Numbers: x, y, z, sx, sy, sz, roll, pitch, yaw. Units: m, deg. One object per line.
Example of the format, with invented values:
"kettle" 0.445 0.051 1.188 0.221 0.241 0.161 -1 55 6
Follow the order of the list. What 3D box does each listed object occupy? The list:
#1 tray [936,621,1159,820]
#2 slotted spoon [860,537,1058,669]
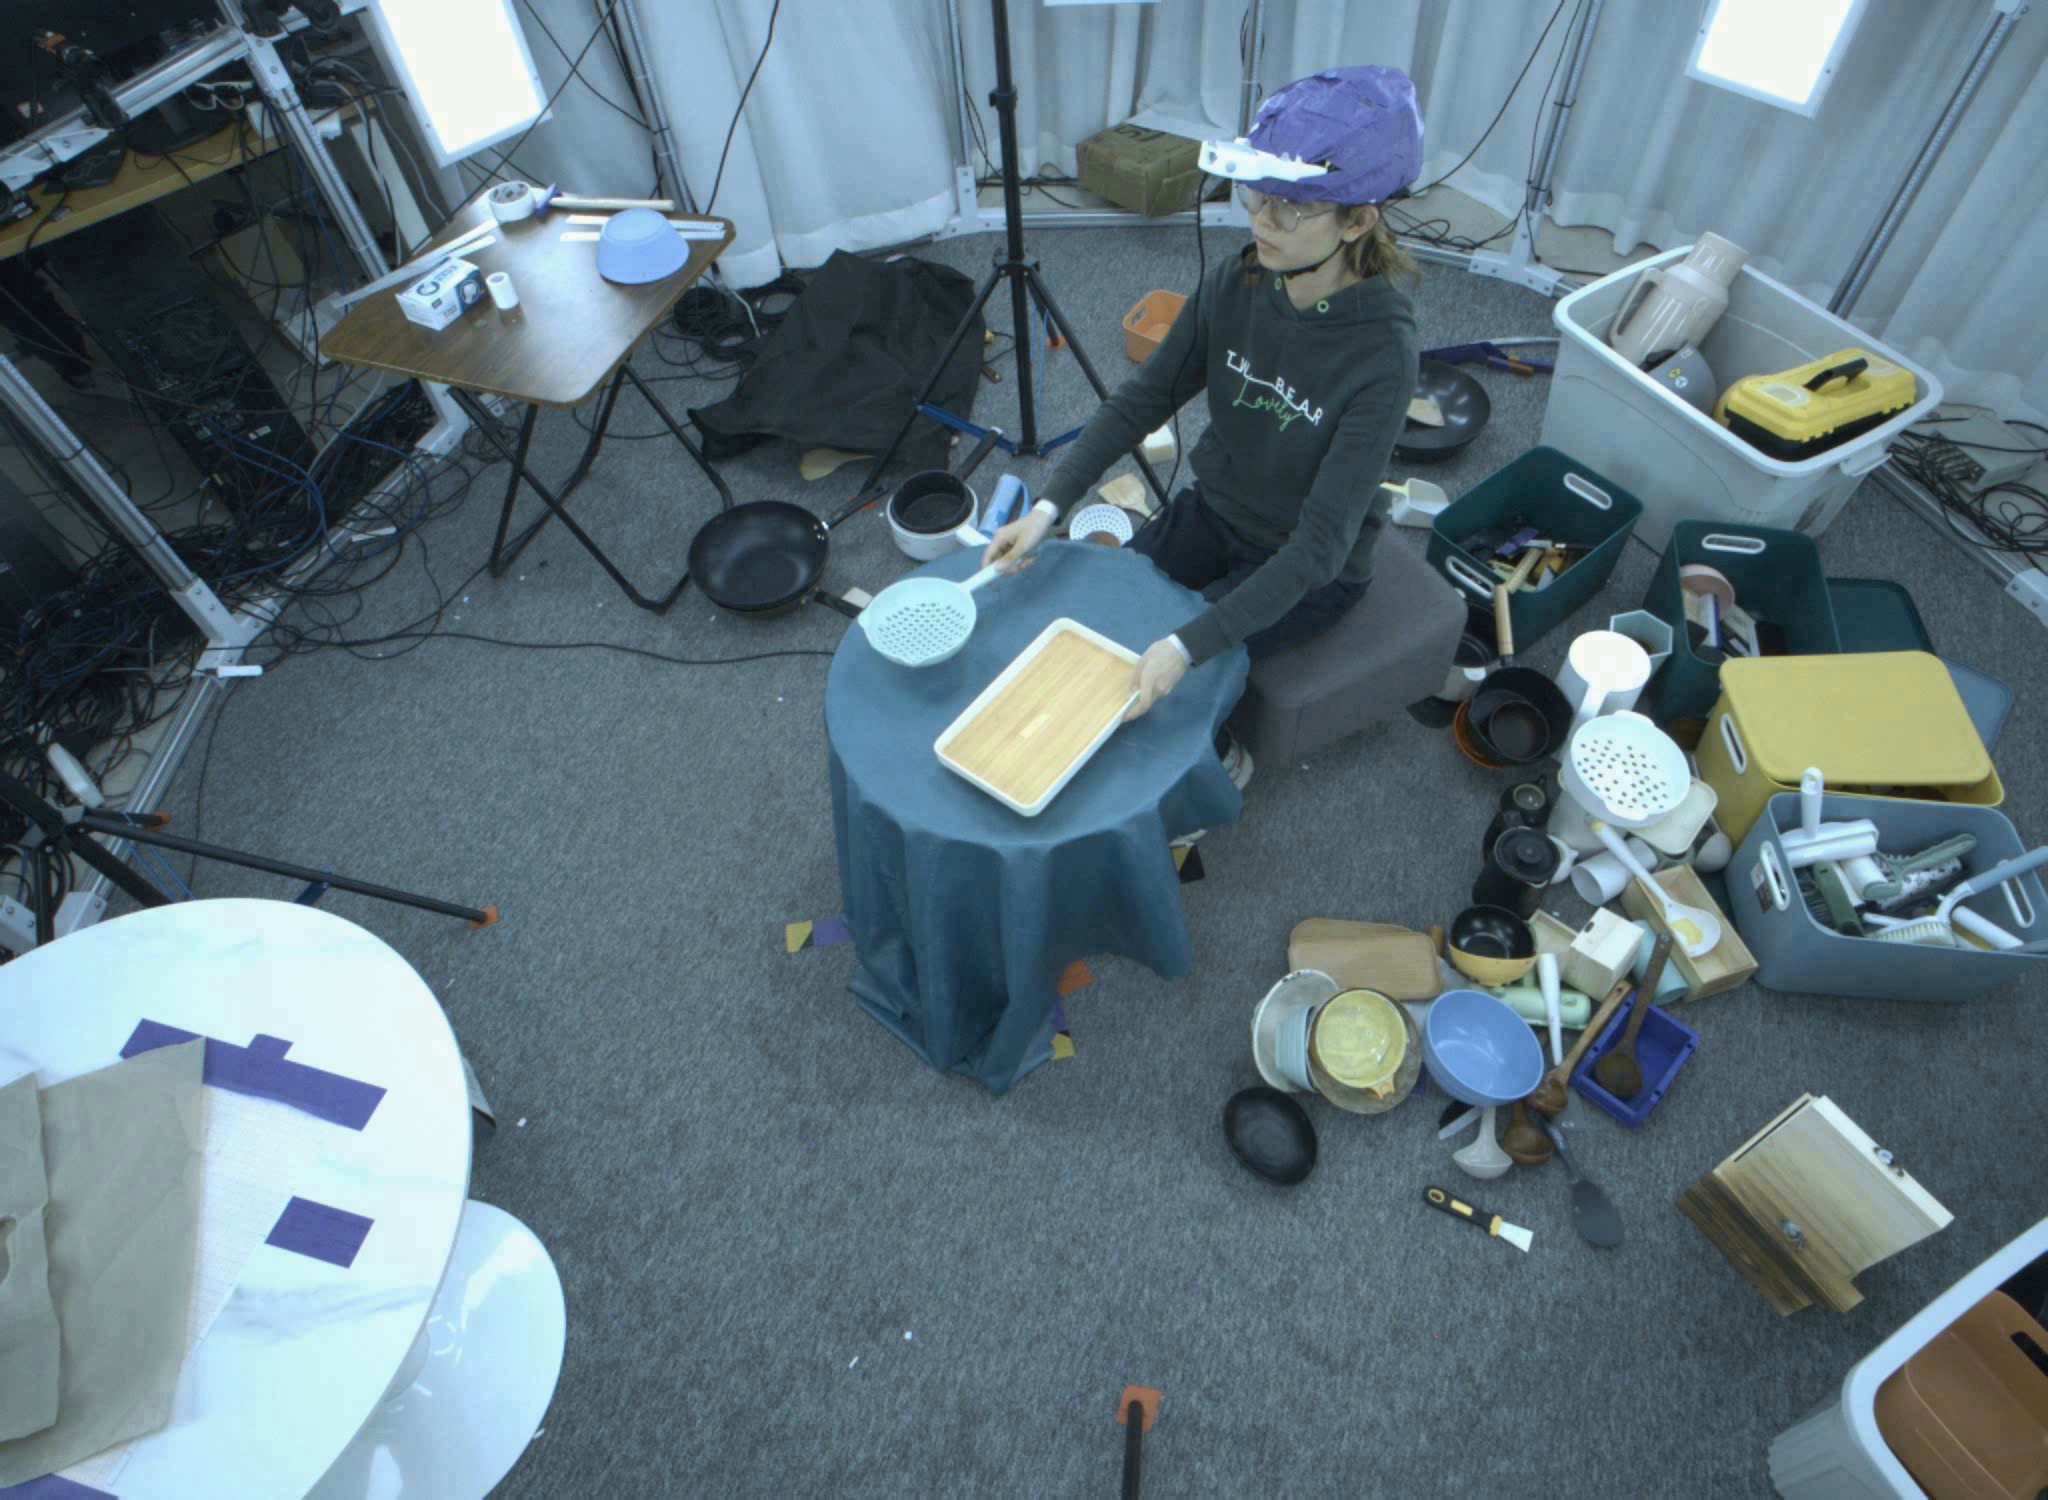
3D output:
"tray" 0.036 -0.049 1.767 0.188 0.028 0.301 32 66 26
"slotted spoon" -0.083 -0.244 1.892 0.360 0.076 0.166 -42 63 -17
